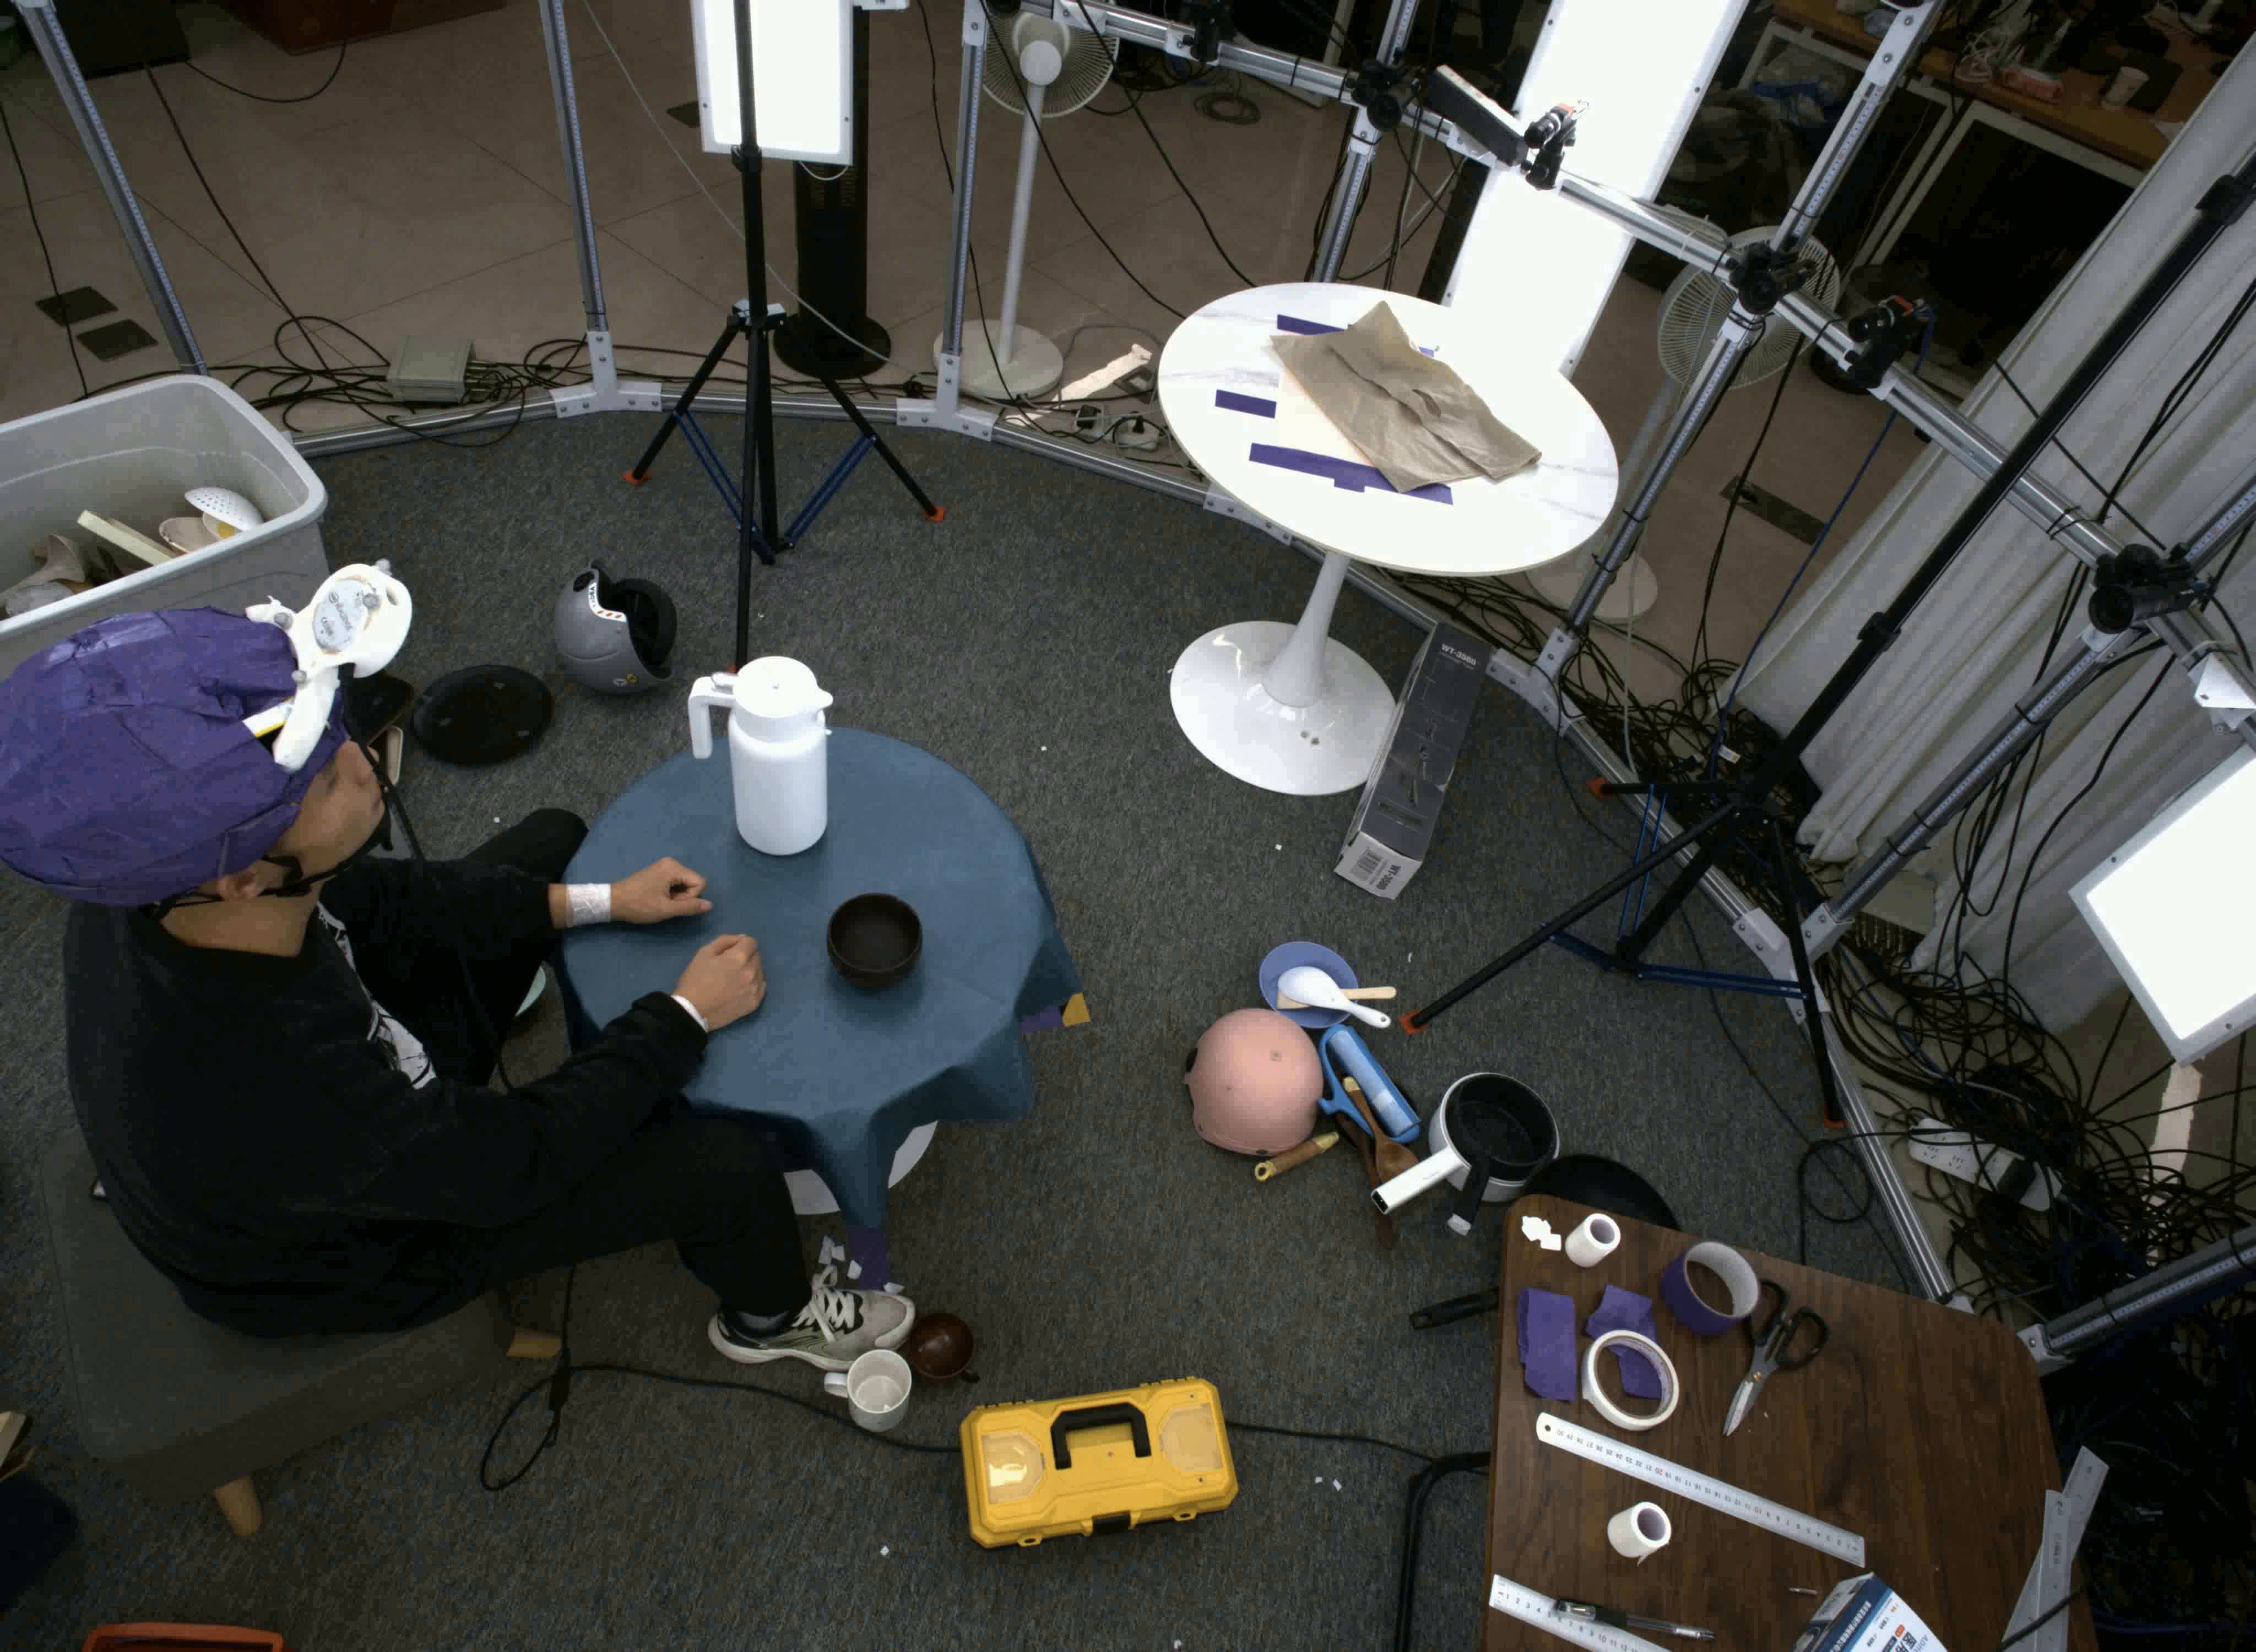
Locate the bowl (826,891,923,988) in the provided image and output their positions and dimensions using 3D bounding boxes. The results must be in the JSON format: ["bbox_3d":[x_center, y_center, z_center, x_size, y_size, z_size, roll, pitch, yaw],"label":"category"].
[{"bbox_3d":[-0.311,0.145,1.594,0.118,0.071,0.116,7,52,-8],"label":"bowl"}]

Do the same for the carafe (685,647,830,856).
[{"bbox_3d":[-0.455,-0.089,1.607,0.172,0.274,0.121,6,53,-8],"label":"carafe"}]
